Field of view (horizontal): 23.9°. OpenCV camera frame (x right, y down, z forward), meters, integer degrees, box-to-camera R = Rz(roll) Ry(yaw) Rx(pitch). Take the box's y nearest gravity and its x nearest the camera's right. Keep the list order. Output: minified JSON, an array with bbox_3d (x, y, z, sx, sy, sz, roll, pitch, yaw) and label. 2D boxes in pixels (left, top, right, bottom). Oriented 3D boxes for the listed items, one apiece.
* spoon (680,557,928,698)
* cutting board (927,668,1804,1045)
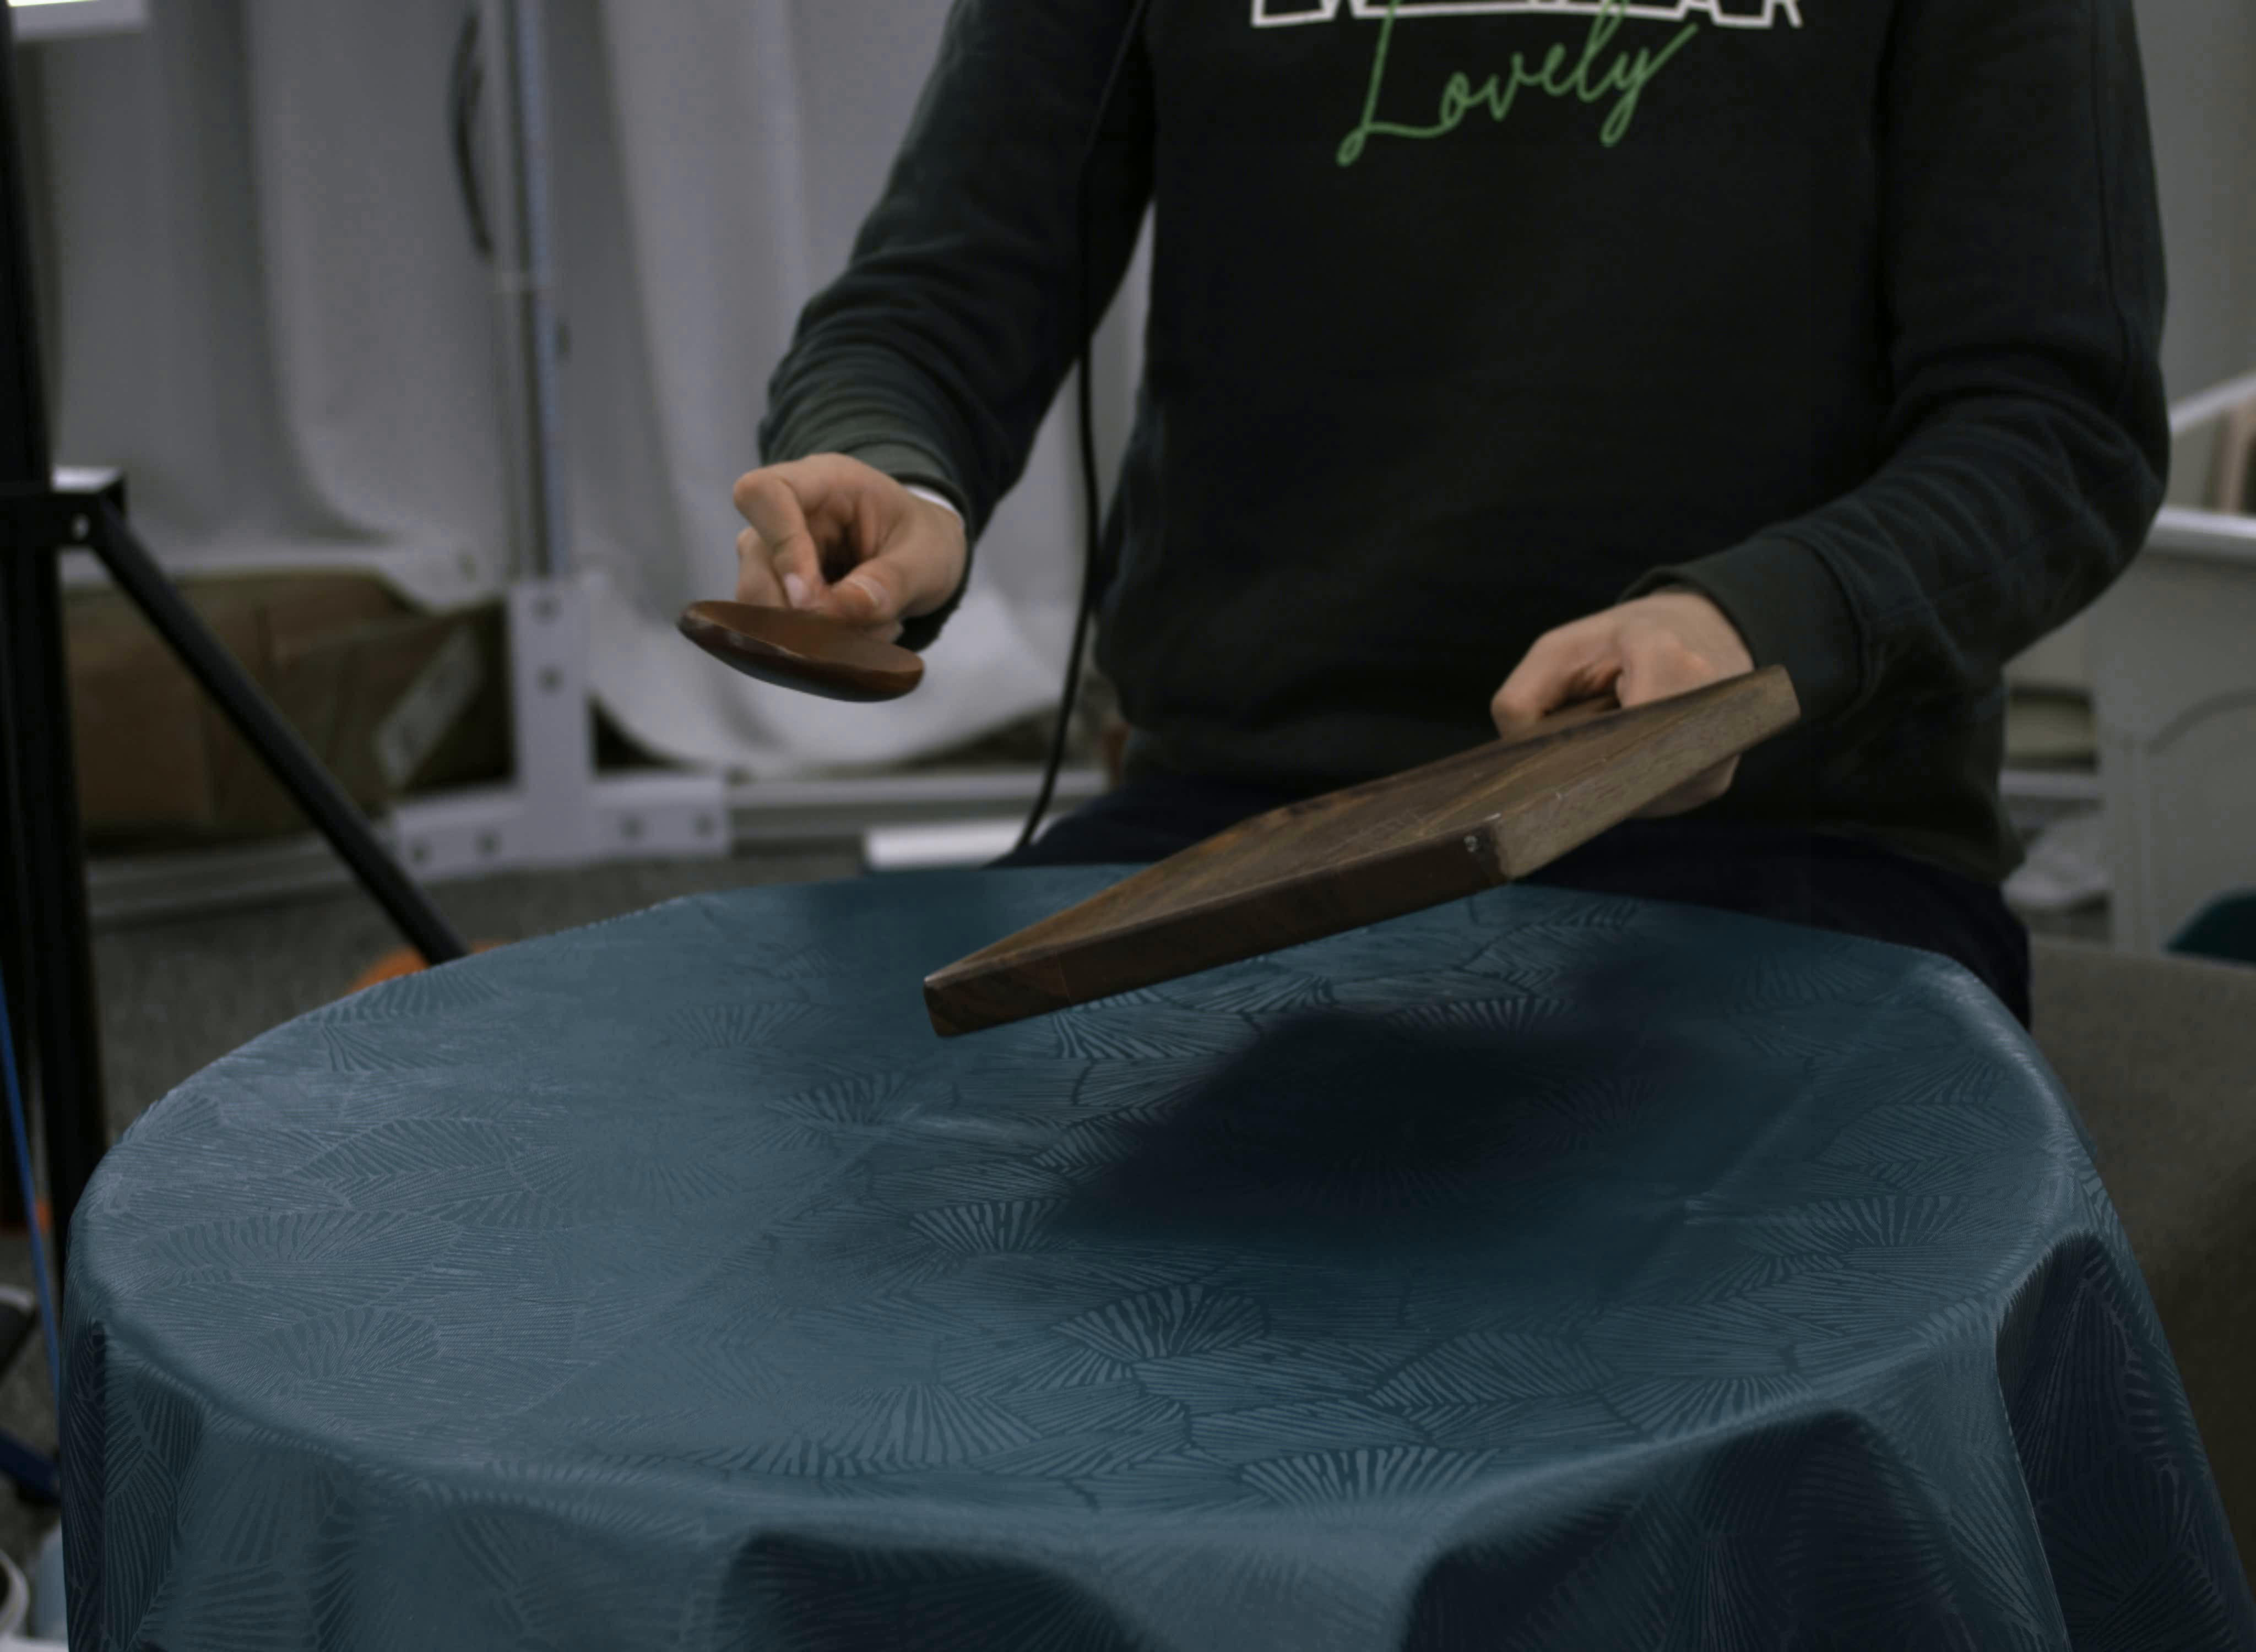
[{"bbox_3d":[-0.096,-0.062,1.659,0.075,0.017,0.216,13,10,0],"label":"spoon"},{"bbox_3d":[0.096,-0.002,1.628,0.204,0.023,0.346,-16,4,28],"label":"cutting board"}]
